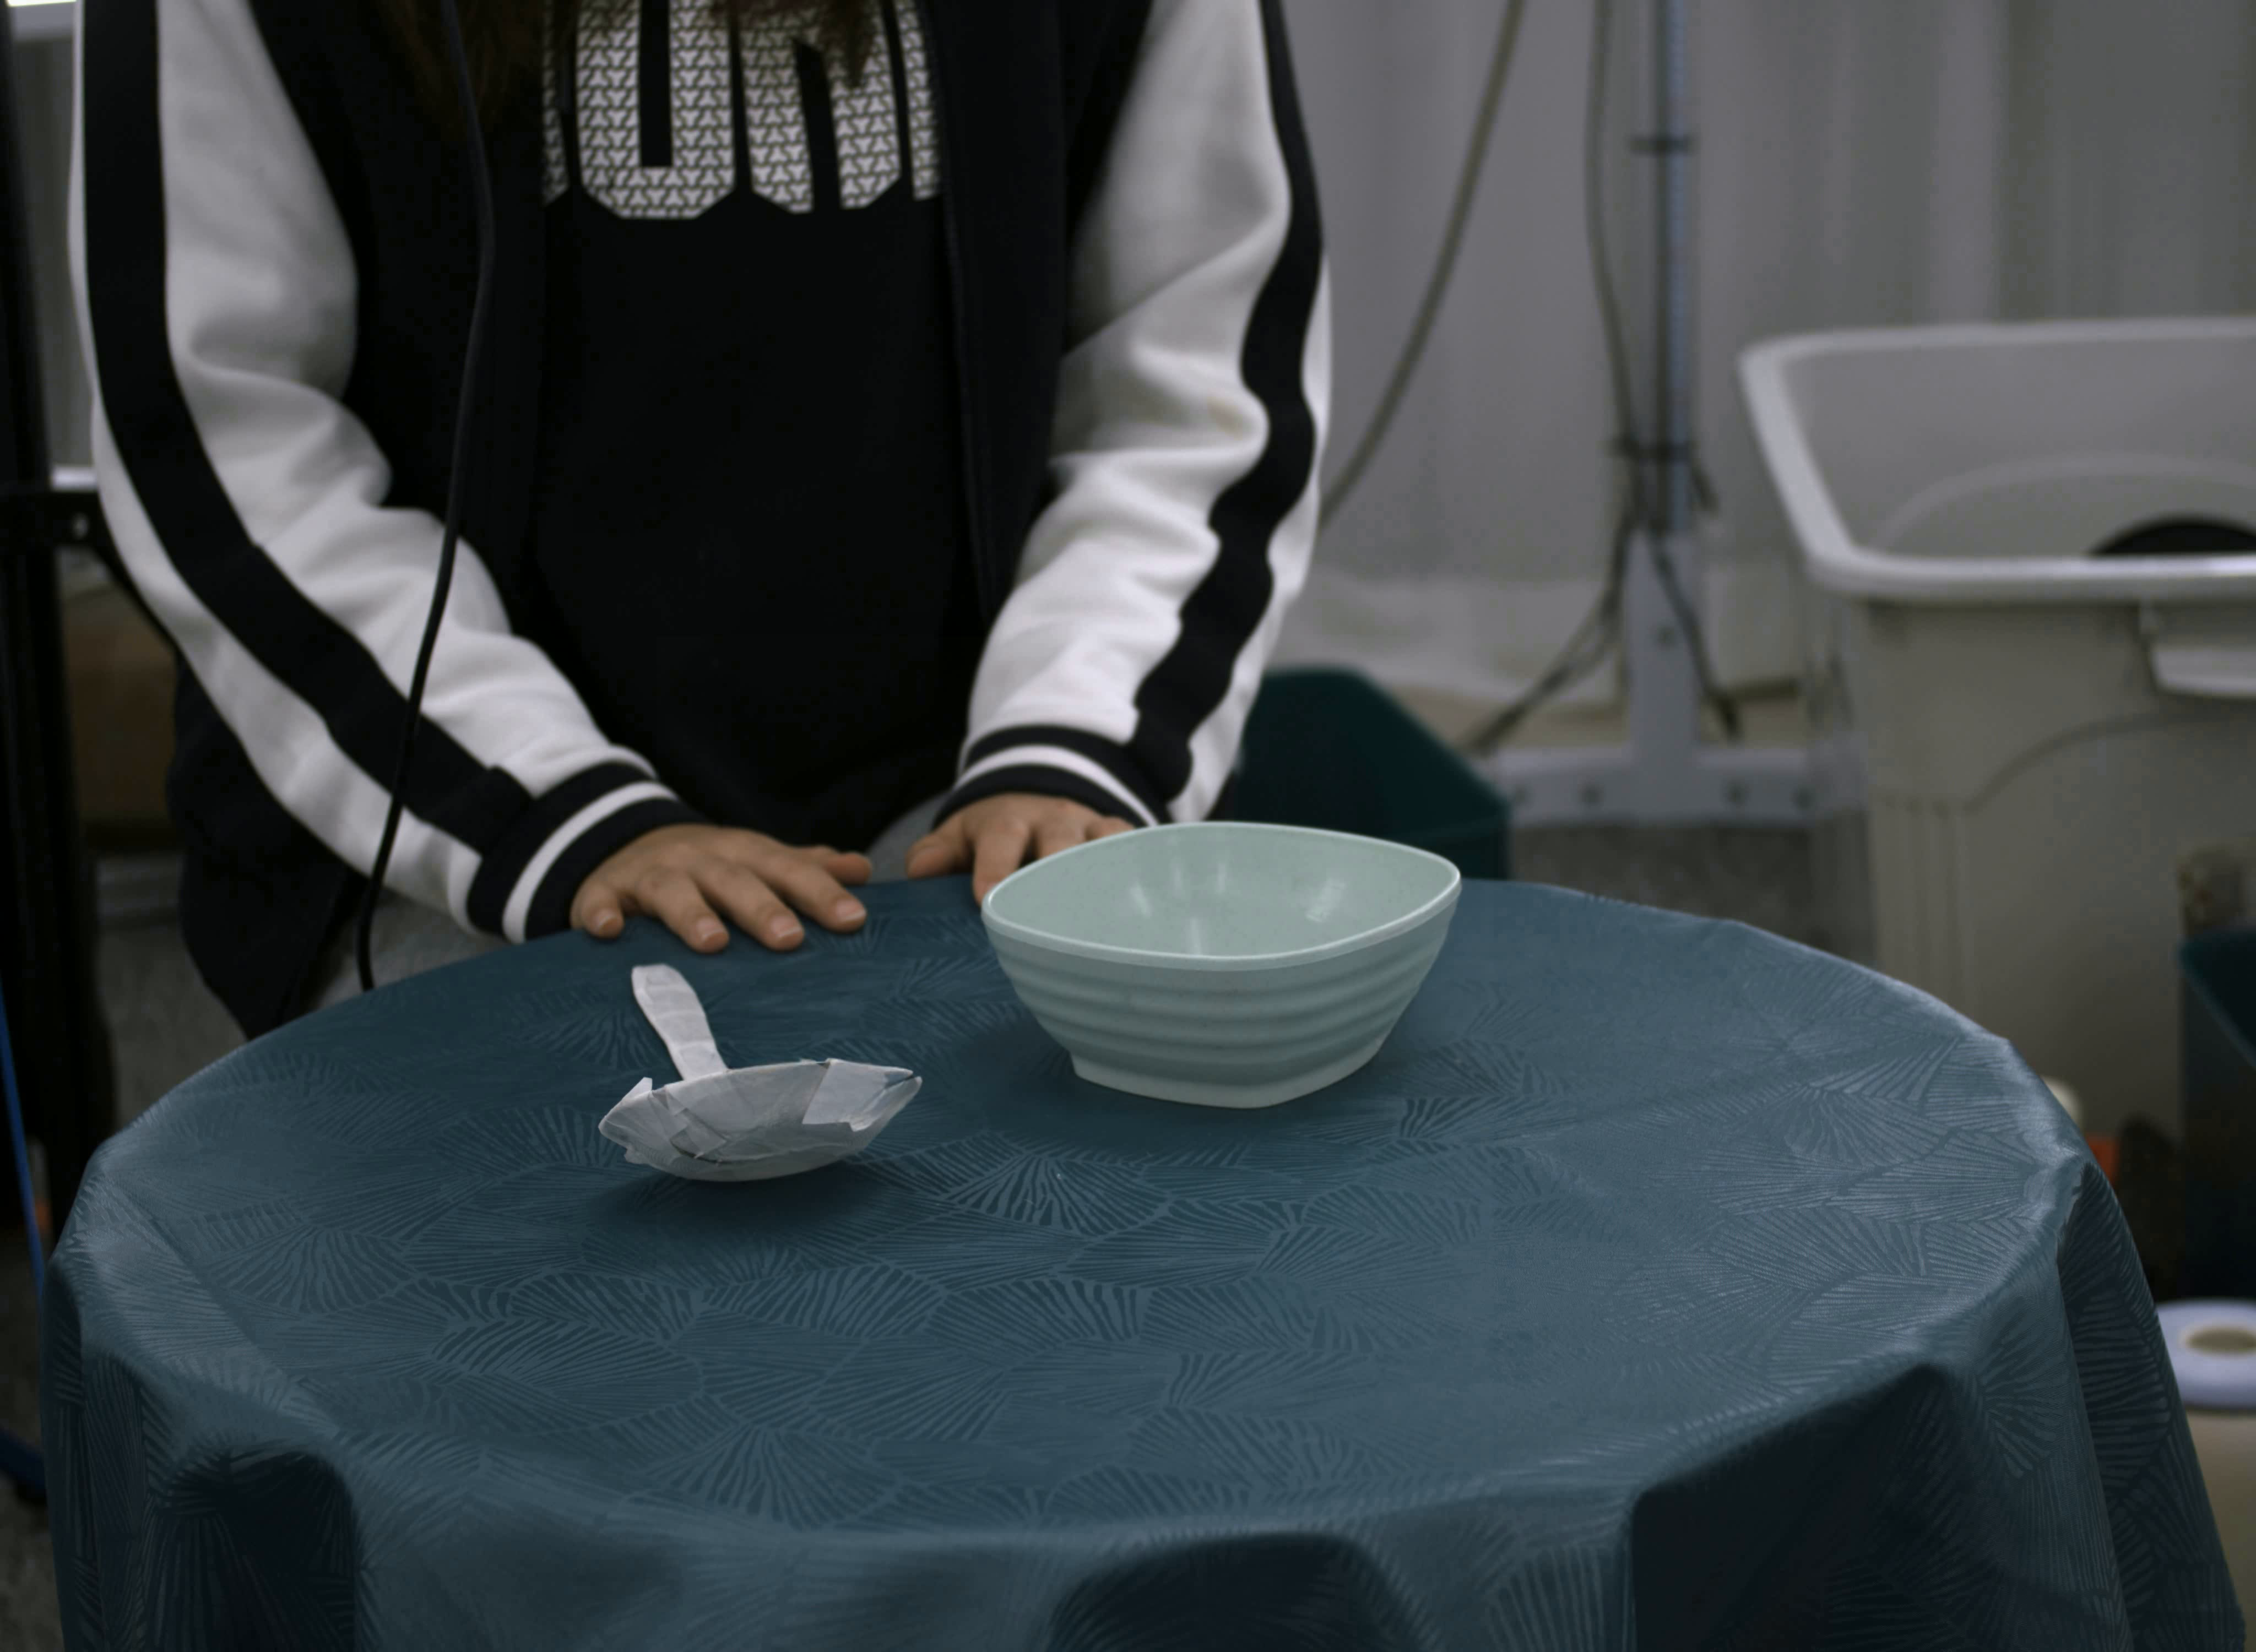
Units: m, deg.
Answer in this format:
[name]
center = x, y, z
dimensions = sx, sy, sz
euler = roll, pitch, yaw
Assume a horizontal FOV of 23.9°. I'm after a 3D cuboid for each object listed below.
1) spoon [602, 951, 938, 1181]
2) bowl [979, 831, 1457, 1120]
[spoon]
center = -0.121, 0.056, 1.656
dimensions = 0.099, 0.059, 0.280
euler = 0, 15, -10
[bowl]
center = 0.029, 0.050, 1.665
dimensions = 0.150, 0.058, 0.152
euler = -3, 15, -1
